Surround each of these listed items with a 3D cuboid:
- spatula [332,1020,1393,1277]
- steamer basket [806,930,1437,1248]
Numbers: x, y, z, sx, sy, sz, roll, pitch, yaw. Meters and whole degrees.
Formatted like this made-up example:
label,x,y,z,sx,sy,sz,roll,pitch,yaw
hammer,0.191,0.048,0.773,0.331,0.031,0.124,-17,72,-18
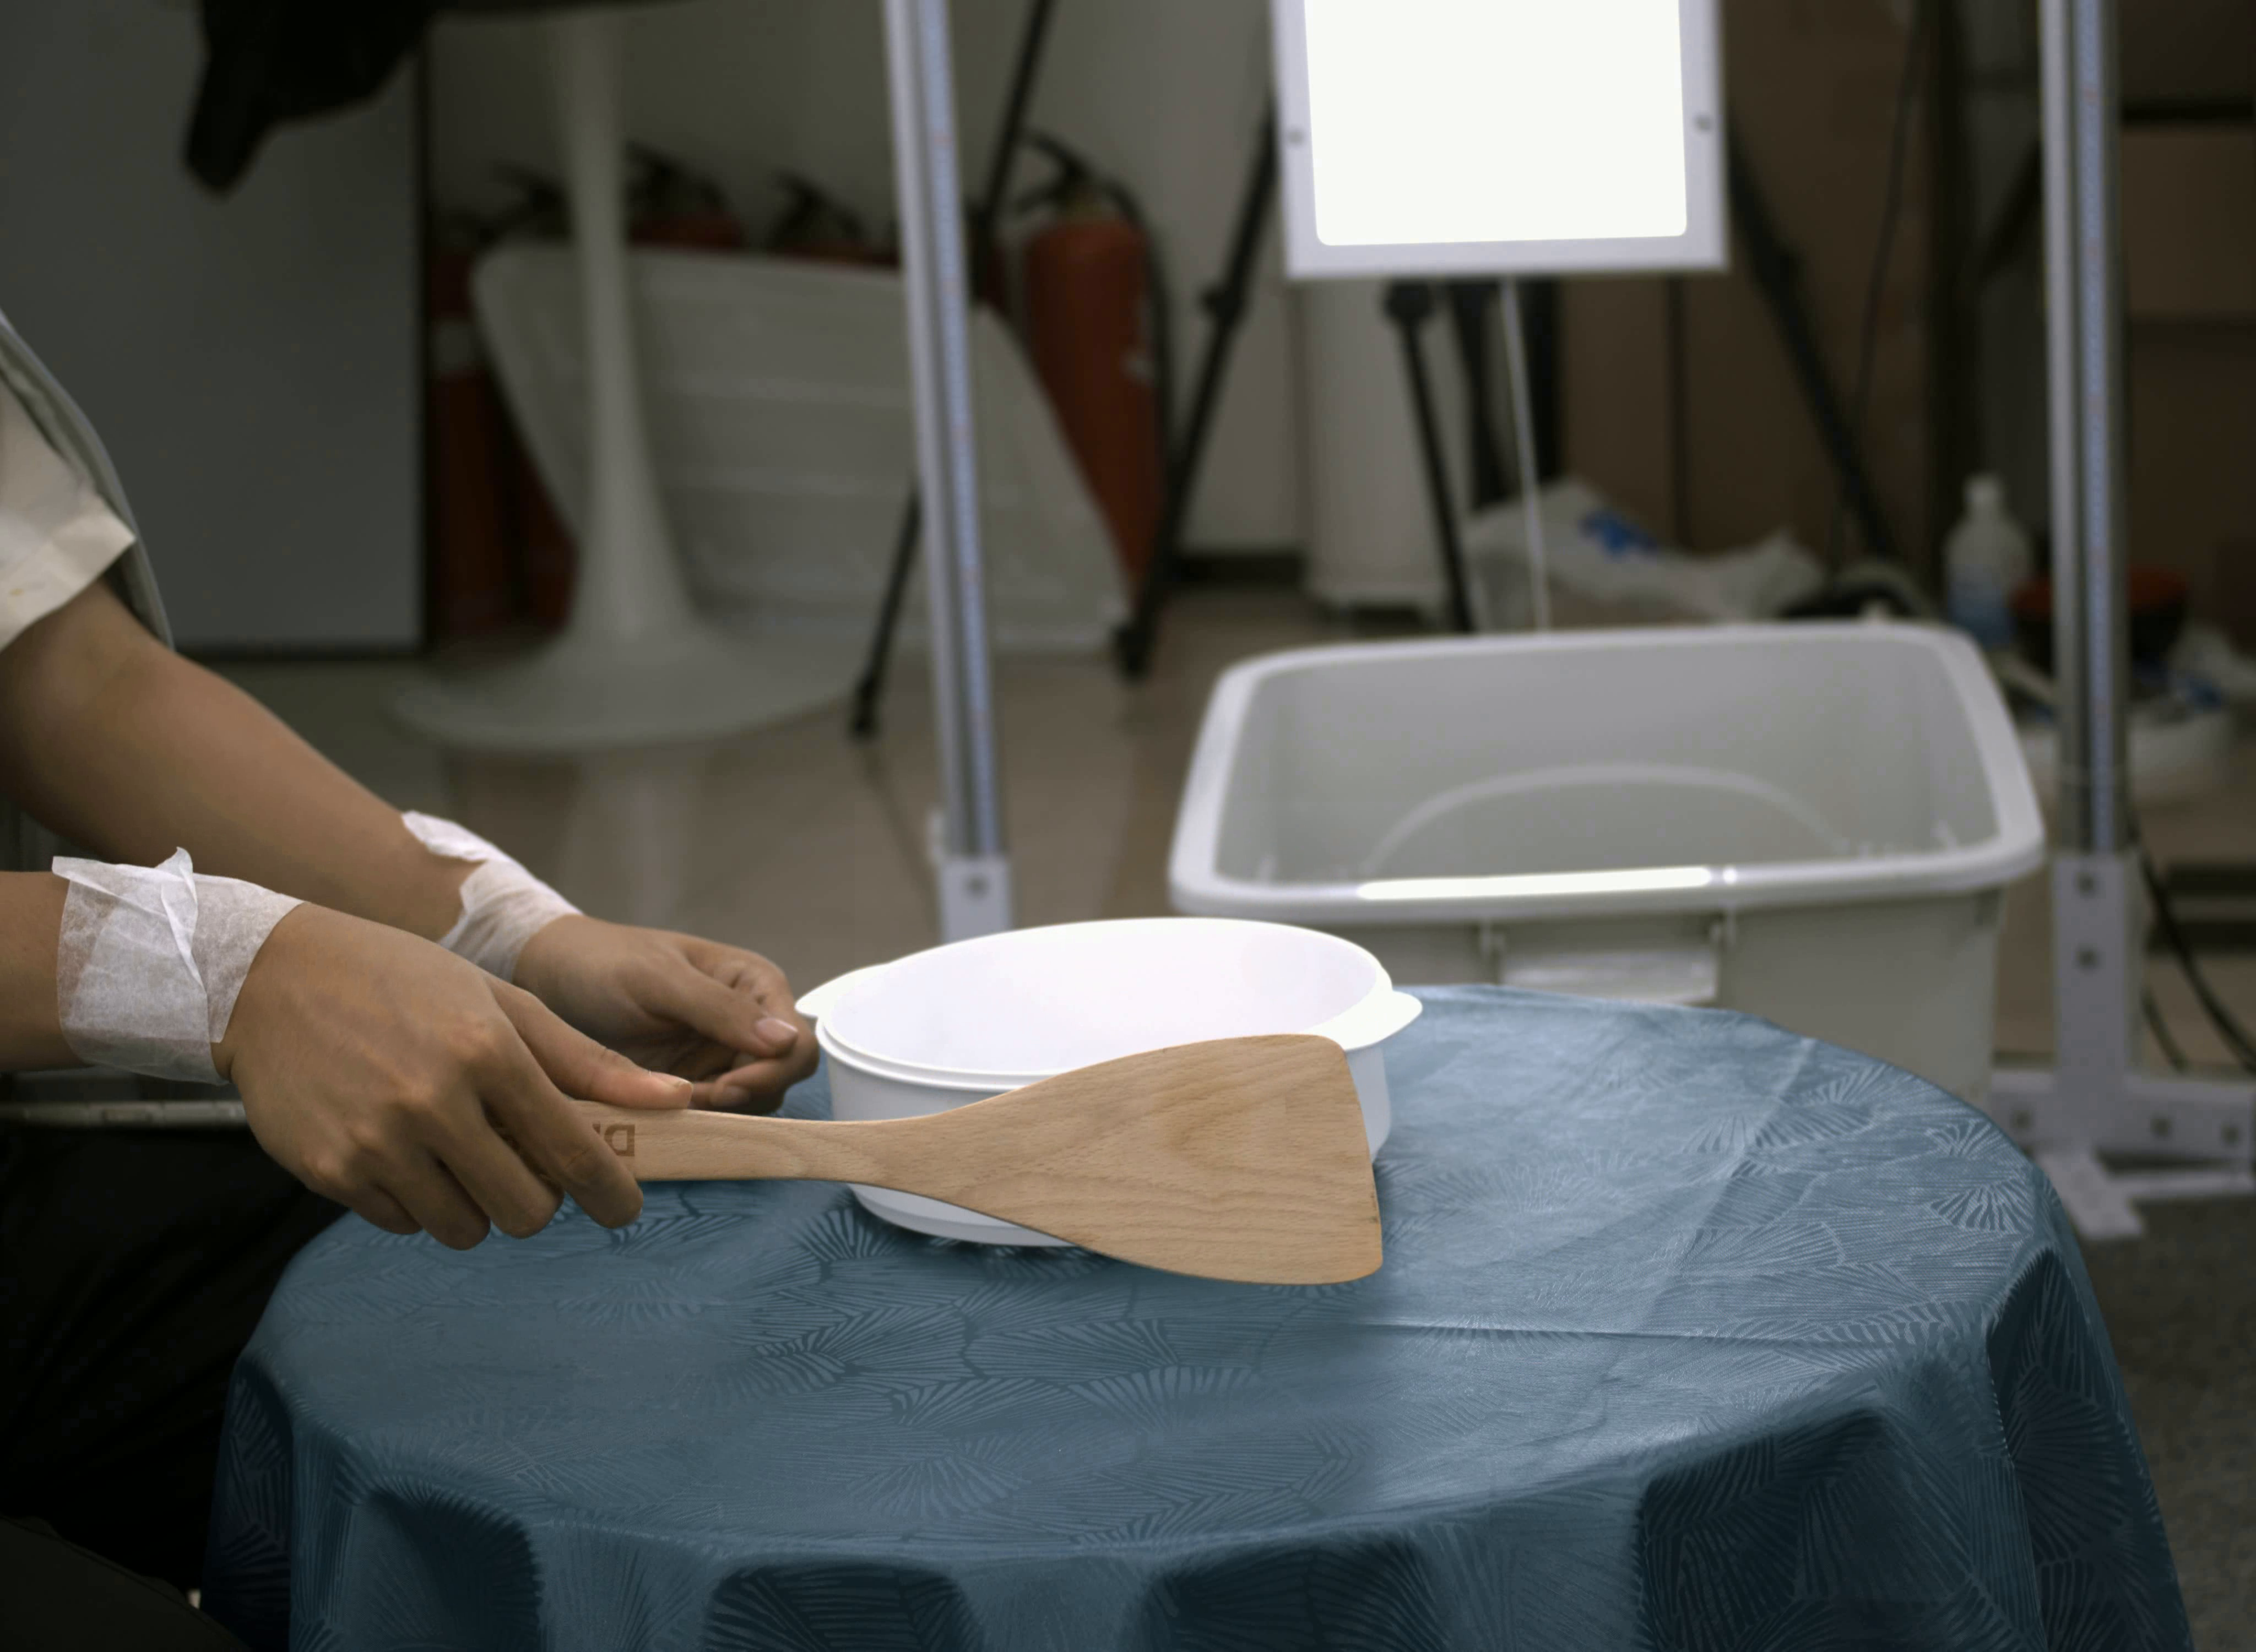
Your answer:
label,x,y,z,sx,sy,sz,roll,pitch,yaw
spatula,-0.081,0.097,1.698,0.325,0.080,0.016,1,-9,-4
steamer basket,-0.002,0.091,1.907,0.235,0.069,0.197,2,14,30
